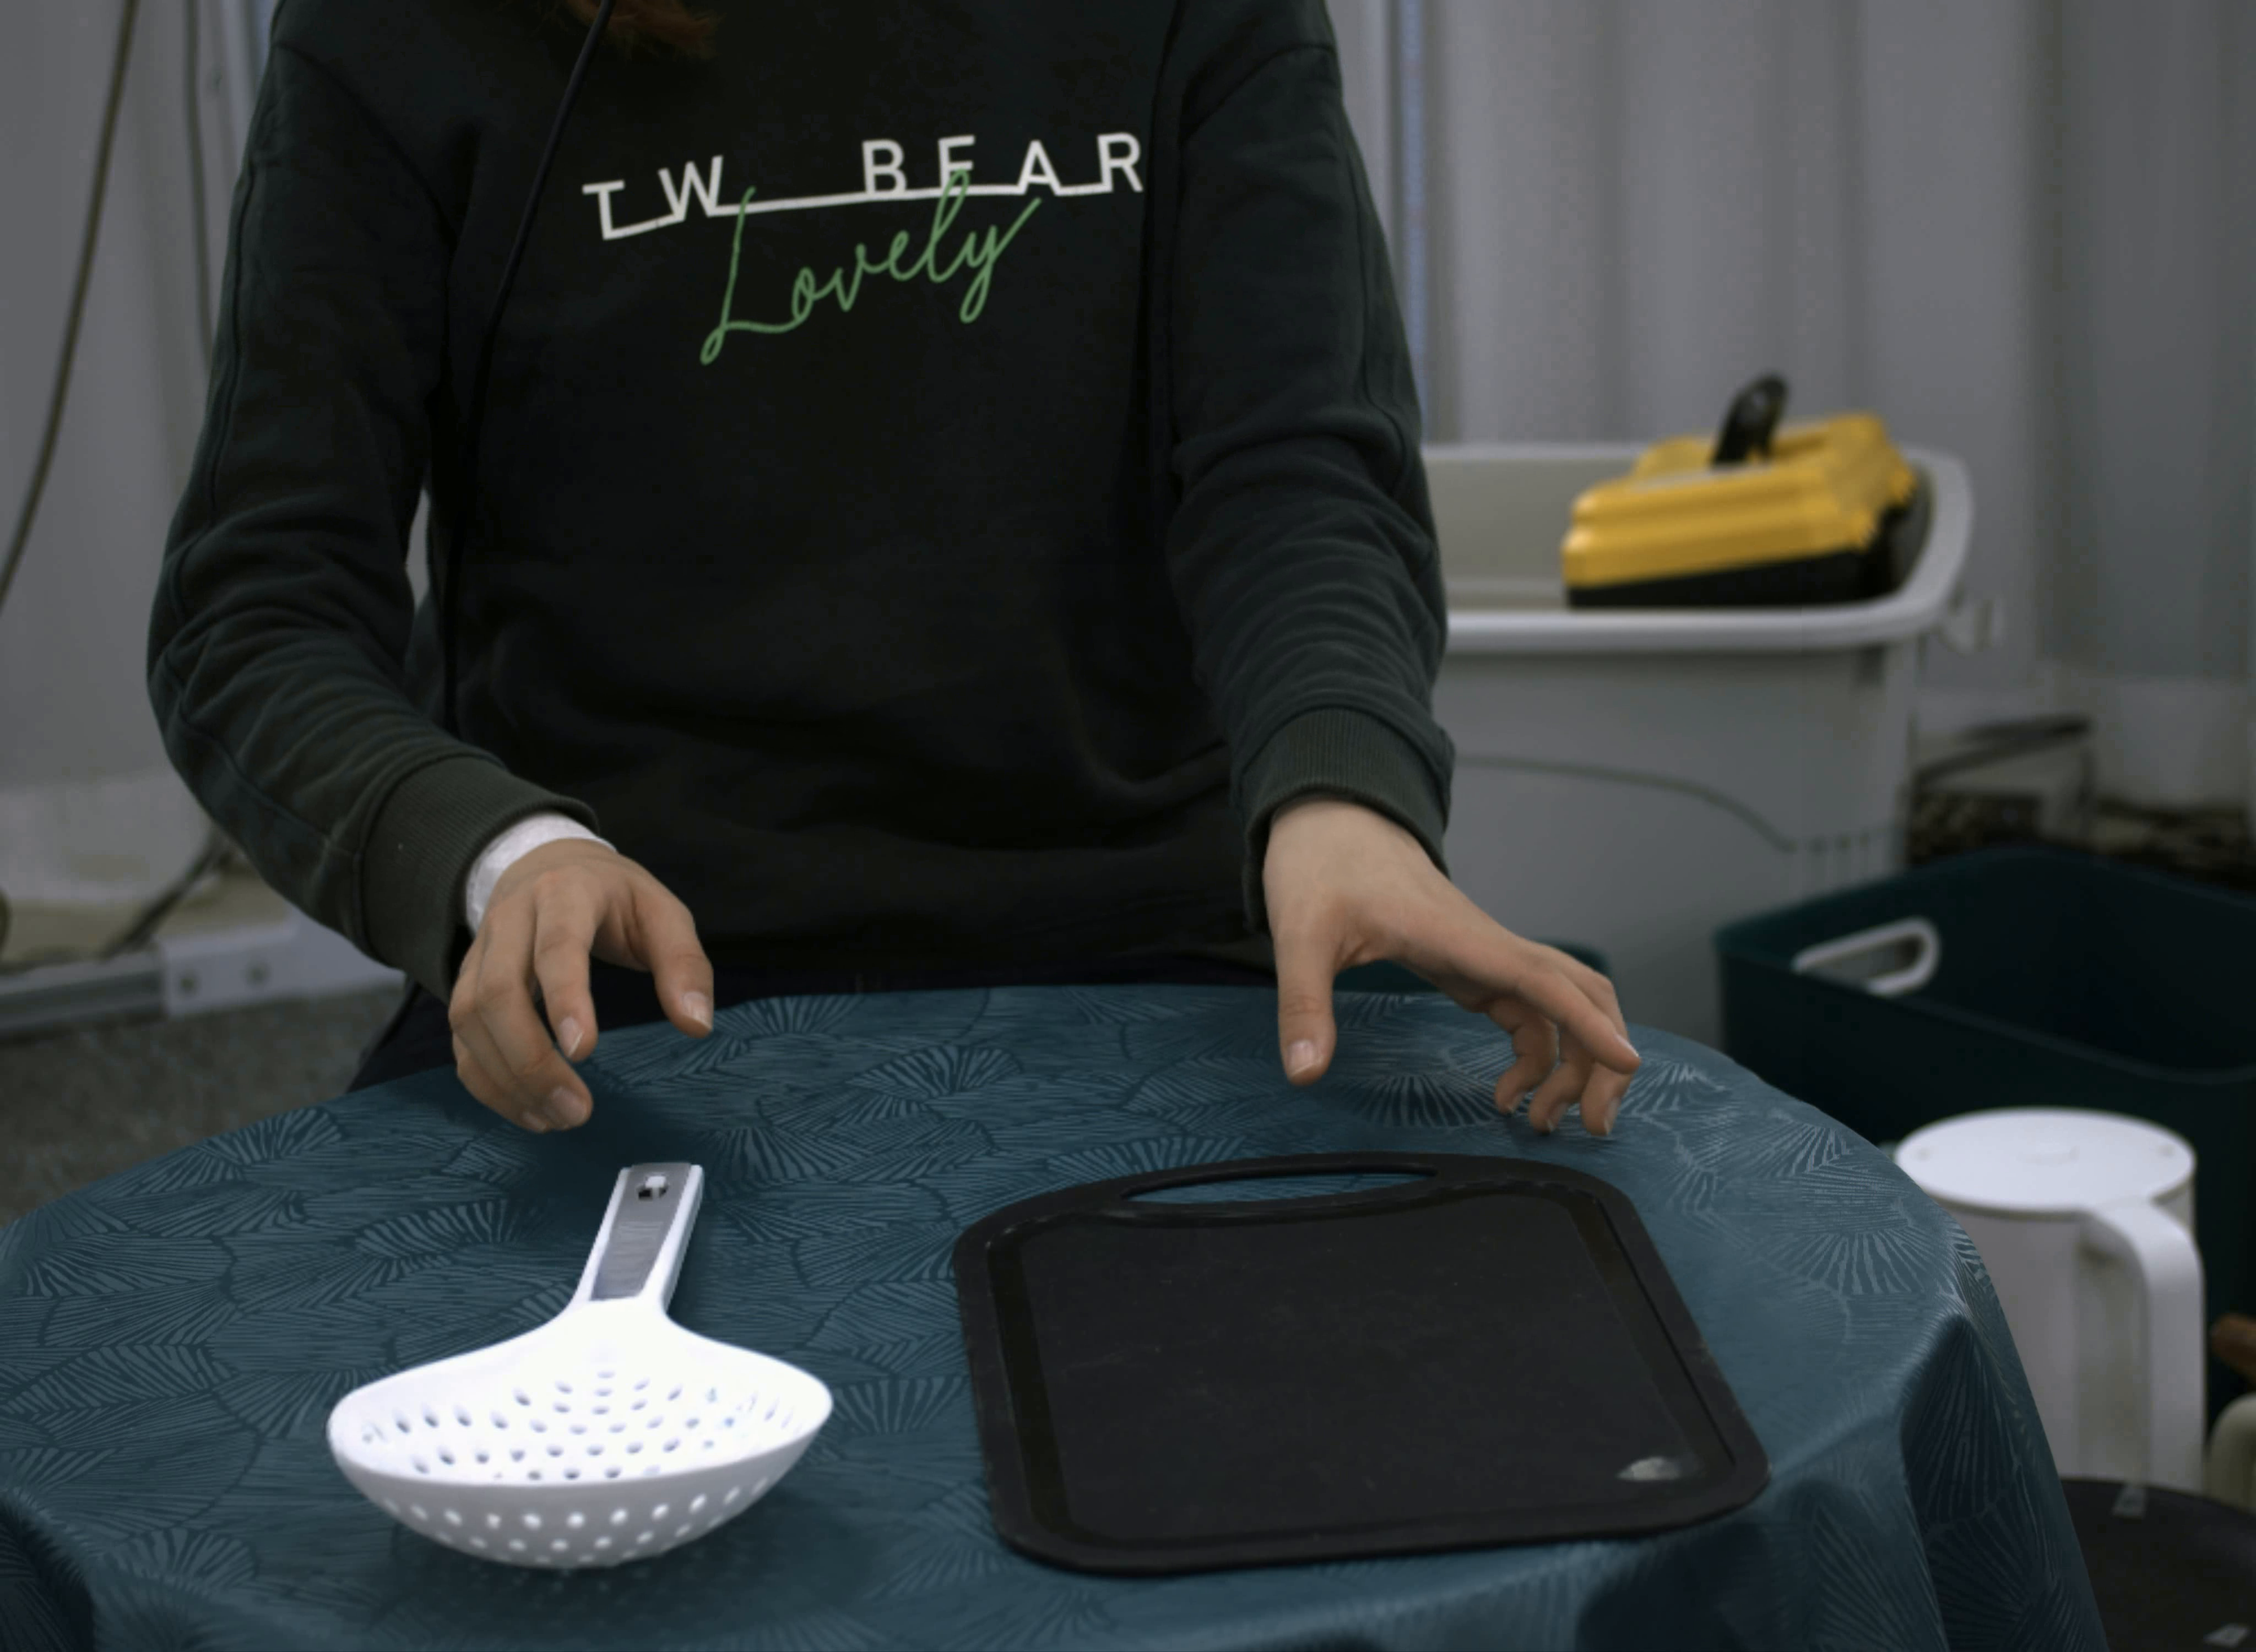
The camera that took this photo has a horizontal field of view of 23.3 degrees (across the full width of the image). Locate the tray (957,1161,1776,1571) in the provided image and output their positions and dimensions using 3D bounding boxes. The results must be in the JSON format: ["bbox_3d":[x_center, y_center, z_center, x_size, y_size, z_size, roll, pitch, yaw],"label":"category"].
[{"bbox_3d":[0.059,0.147,1.569,0.210,0.010,0.328,-3,15,-4],"label":"tray"}]

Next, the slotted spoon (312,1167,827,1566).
[{"bbox_3d":[-0.146,0.143,1.547,0.135,0.045,0.352,0,14,0],"label":"slotted spoon"}]
